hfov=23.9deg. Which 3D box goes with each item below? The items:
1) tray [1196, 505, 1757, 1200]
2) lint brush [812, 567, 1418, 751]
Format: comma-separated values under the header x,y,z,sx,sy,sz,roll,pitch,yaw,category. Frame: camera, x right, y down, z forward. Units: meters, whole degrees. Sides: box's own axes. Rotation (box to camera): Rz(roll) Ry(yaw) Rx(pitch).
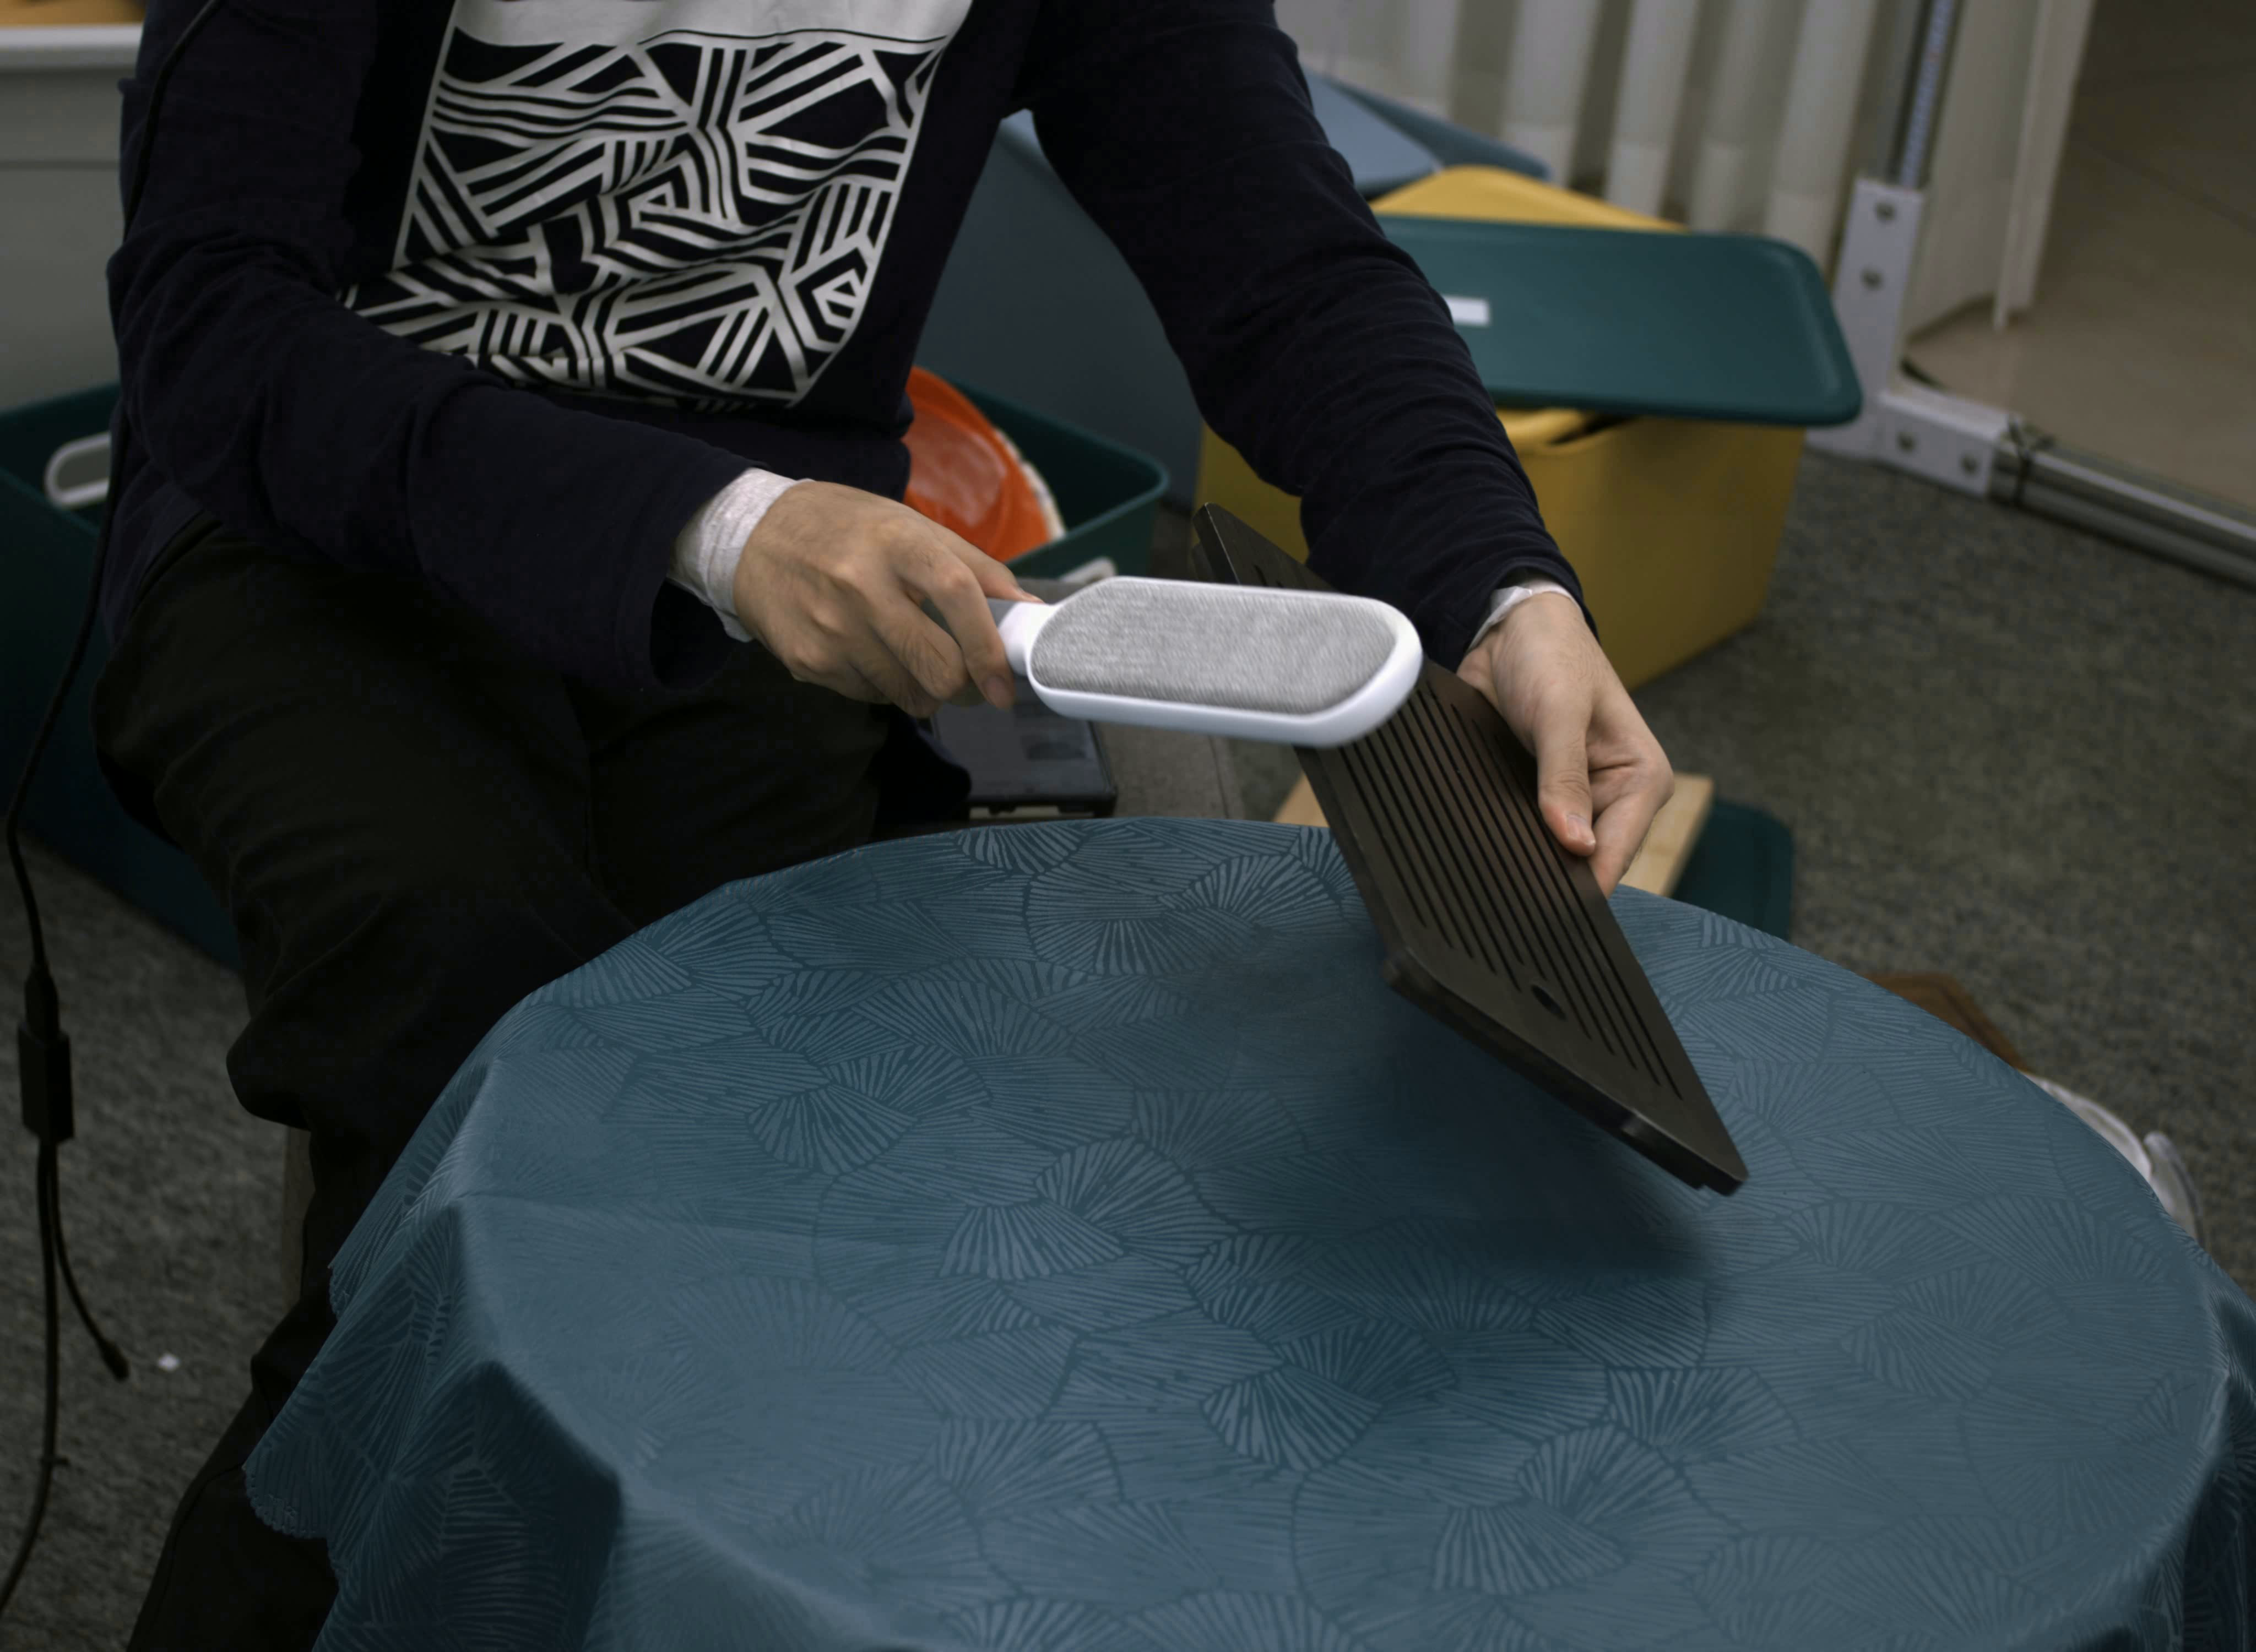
x,y,z,sx,sy,sz,roll,pitch,yaw,category
0.115,0.007,1.870,0.168,0.018,0.309,33,20,-31,tray
-0.011,-0.065,1.898,0.311,0.021,0.060,9,62,48,lint brush
